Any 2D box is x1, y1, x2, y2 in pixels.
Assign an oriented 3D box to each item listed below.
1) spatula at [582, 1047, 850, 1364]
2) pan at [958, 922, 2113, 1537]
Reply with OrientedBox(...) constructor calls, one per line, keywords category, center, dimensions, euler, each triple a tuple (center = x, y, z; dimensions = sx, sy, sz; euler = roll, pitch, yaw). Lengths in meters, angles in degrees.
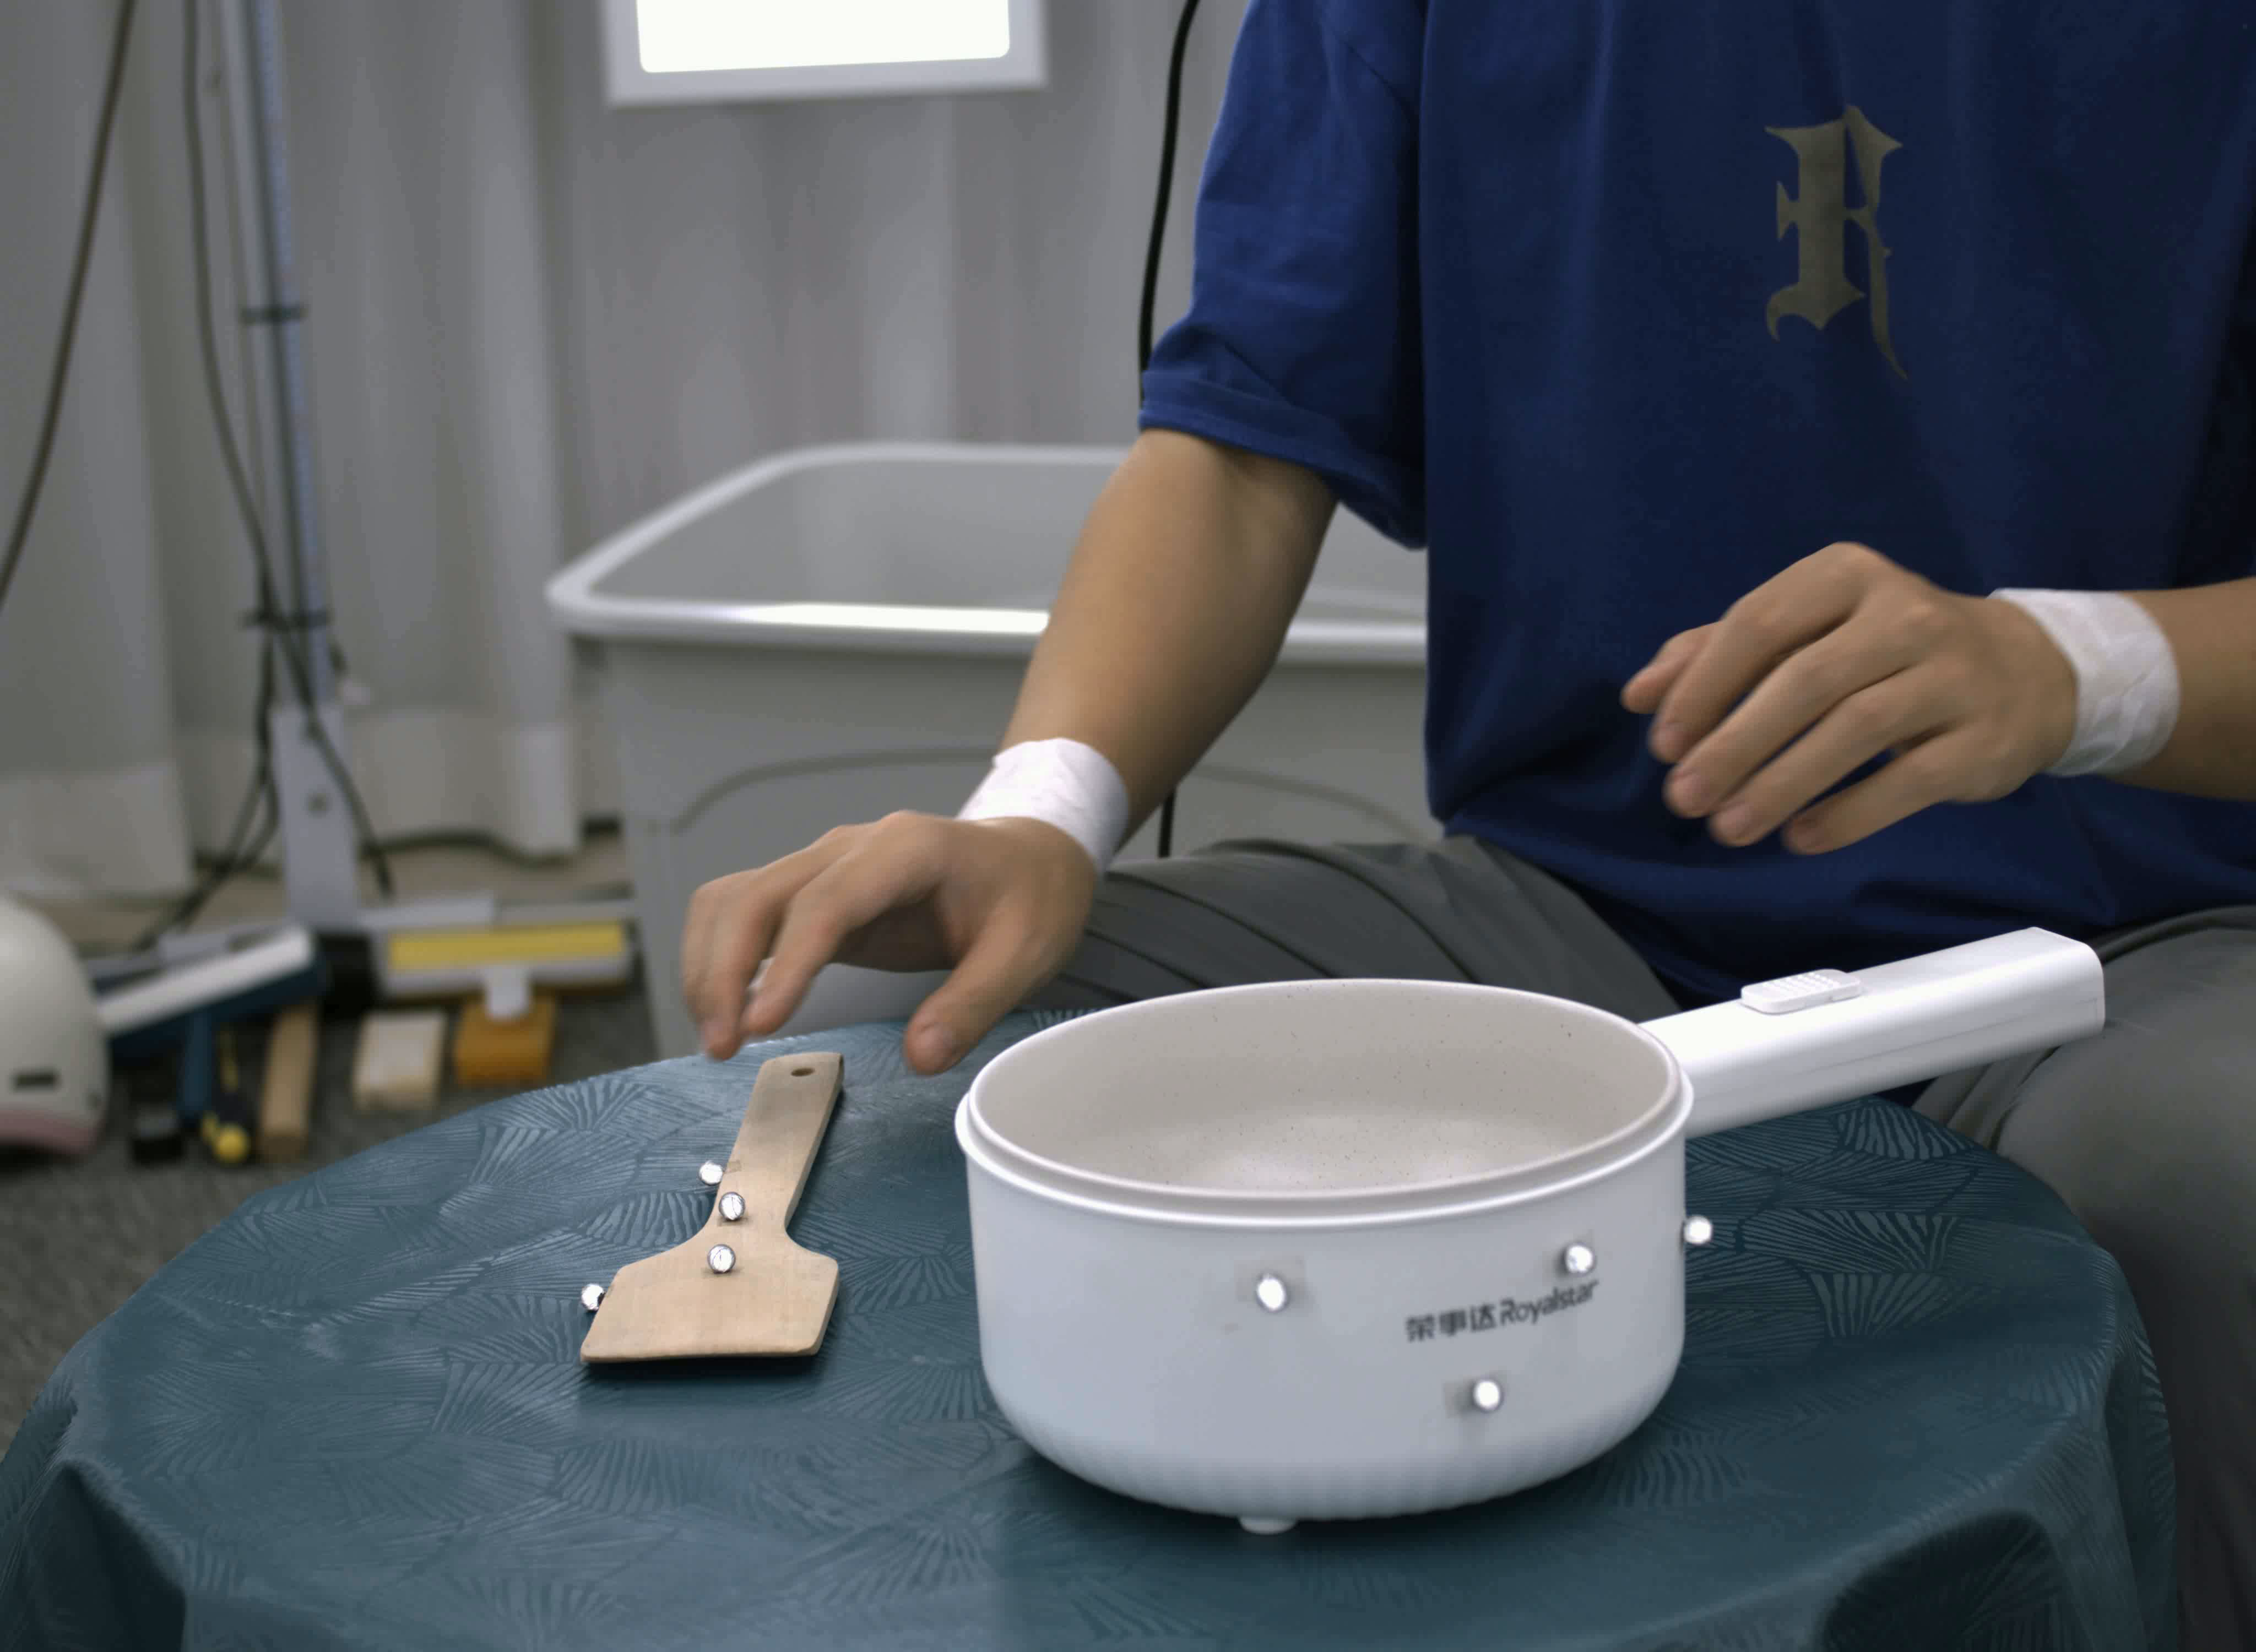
OrientedBox(category="spatula", center=(-0.116, 0.116, 1.709), dimensions=(0.072, 0.010, 0.295), euler=(-3, 15, 4))
OrientedBox(category="pan", center=(0.123, 0.106, 1.530), dimensions=(0.353, 0.102, 0.202), euler=(-11, 15, -27))
